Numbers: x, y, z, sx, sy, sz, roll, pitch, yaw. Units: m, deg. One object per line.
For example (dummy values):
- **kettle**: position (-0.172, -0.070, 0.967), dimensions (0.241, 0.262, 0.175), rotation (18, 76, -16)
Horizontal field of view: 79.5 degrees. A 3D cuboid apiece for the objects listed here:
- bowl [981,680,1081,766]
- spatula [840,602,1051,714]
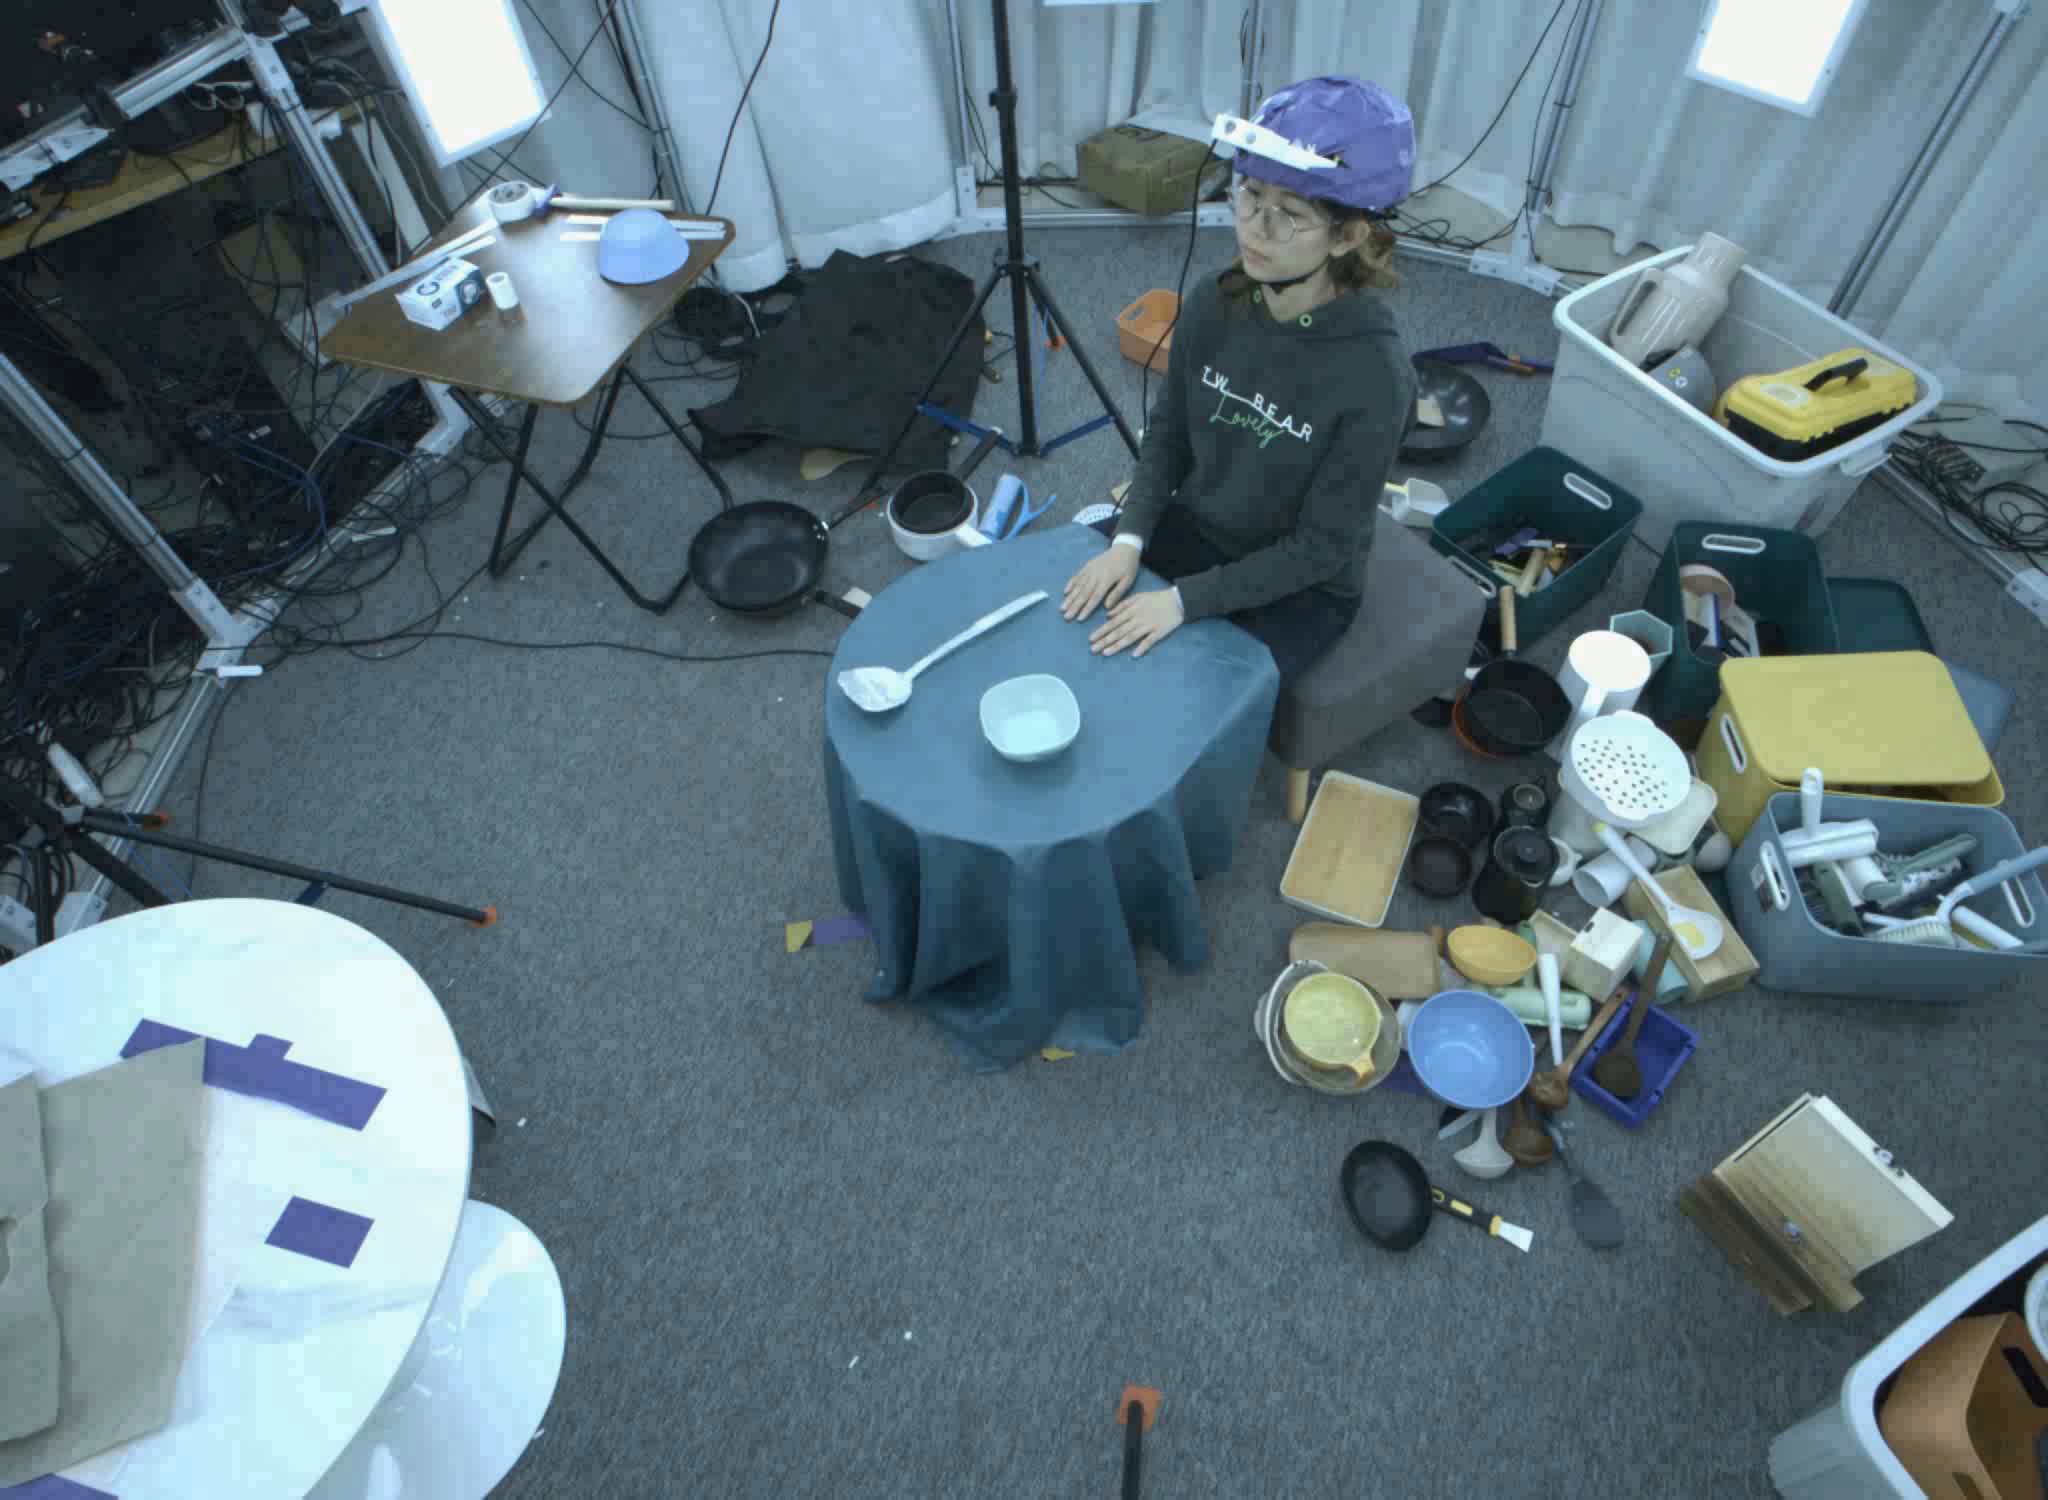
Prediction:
- **bowl**: position (0.009, -0.030, 1.791), dimensions (0.152, 0.059, 0.150), rotation (2, 54, -2)
- **spatula**: position (-0.112, -0.156, 1.887), dimensions (0.368, 0.045, 0.097), rotation (-33, 58, -19)
